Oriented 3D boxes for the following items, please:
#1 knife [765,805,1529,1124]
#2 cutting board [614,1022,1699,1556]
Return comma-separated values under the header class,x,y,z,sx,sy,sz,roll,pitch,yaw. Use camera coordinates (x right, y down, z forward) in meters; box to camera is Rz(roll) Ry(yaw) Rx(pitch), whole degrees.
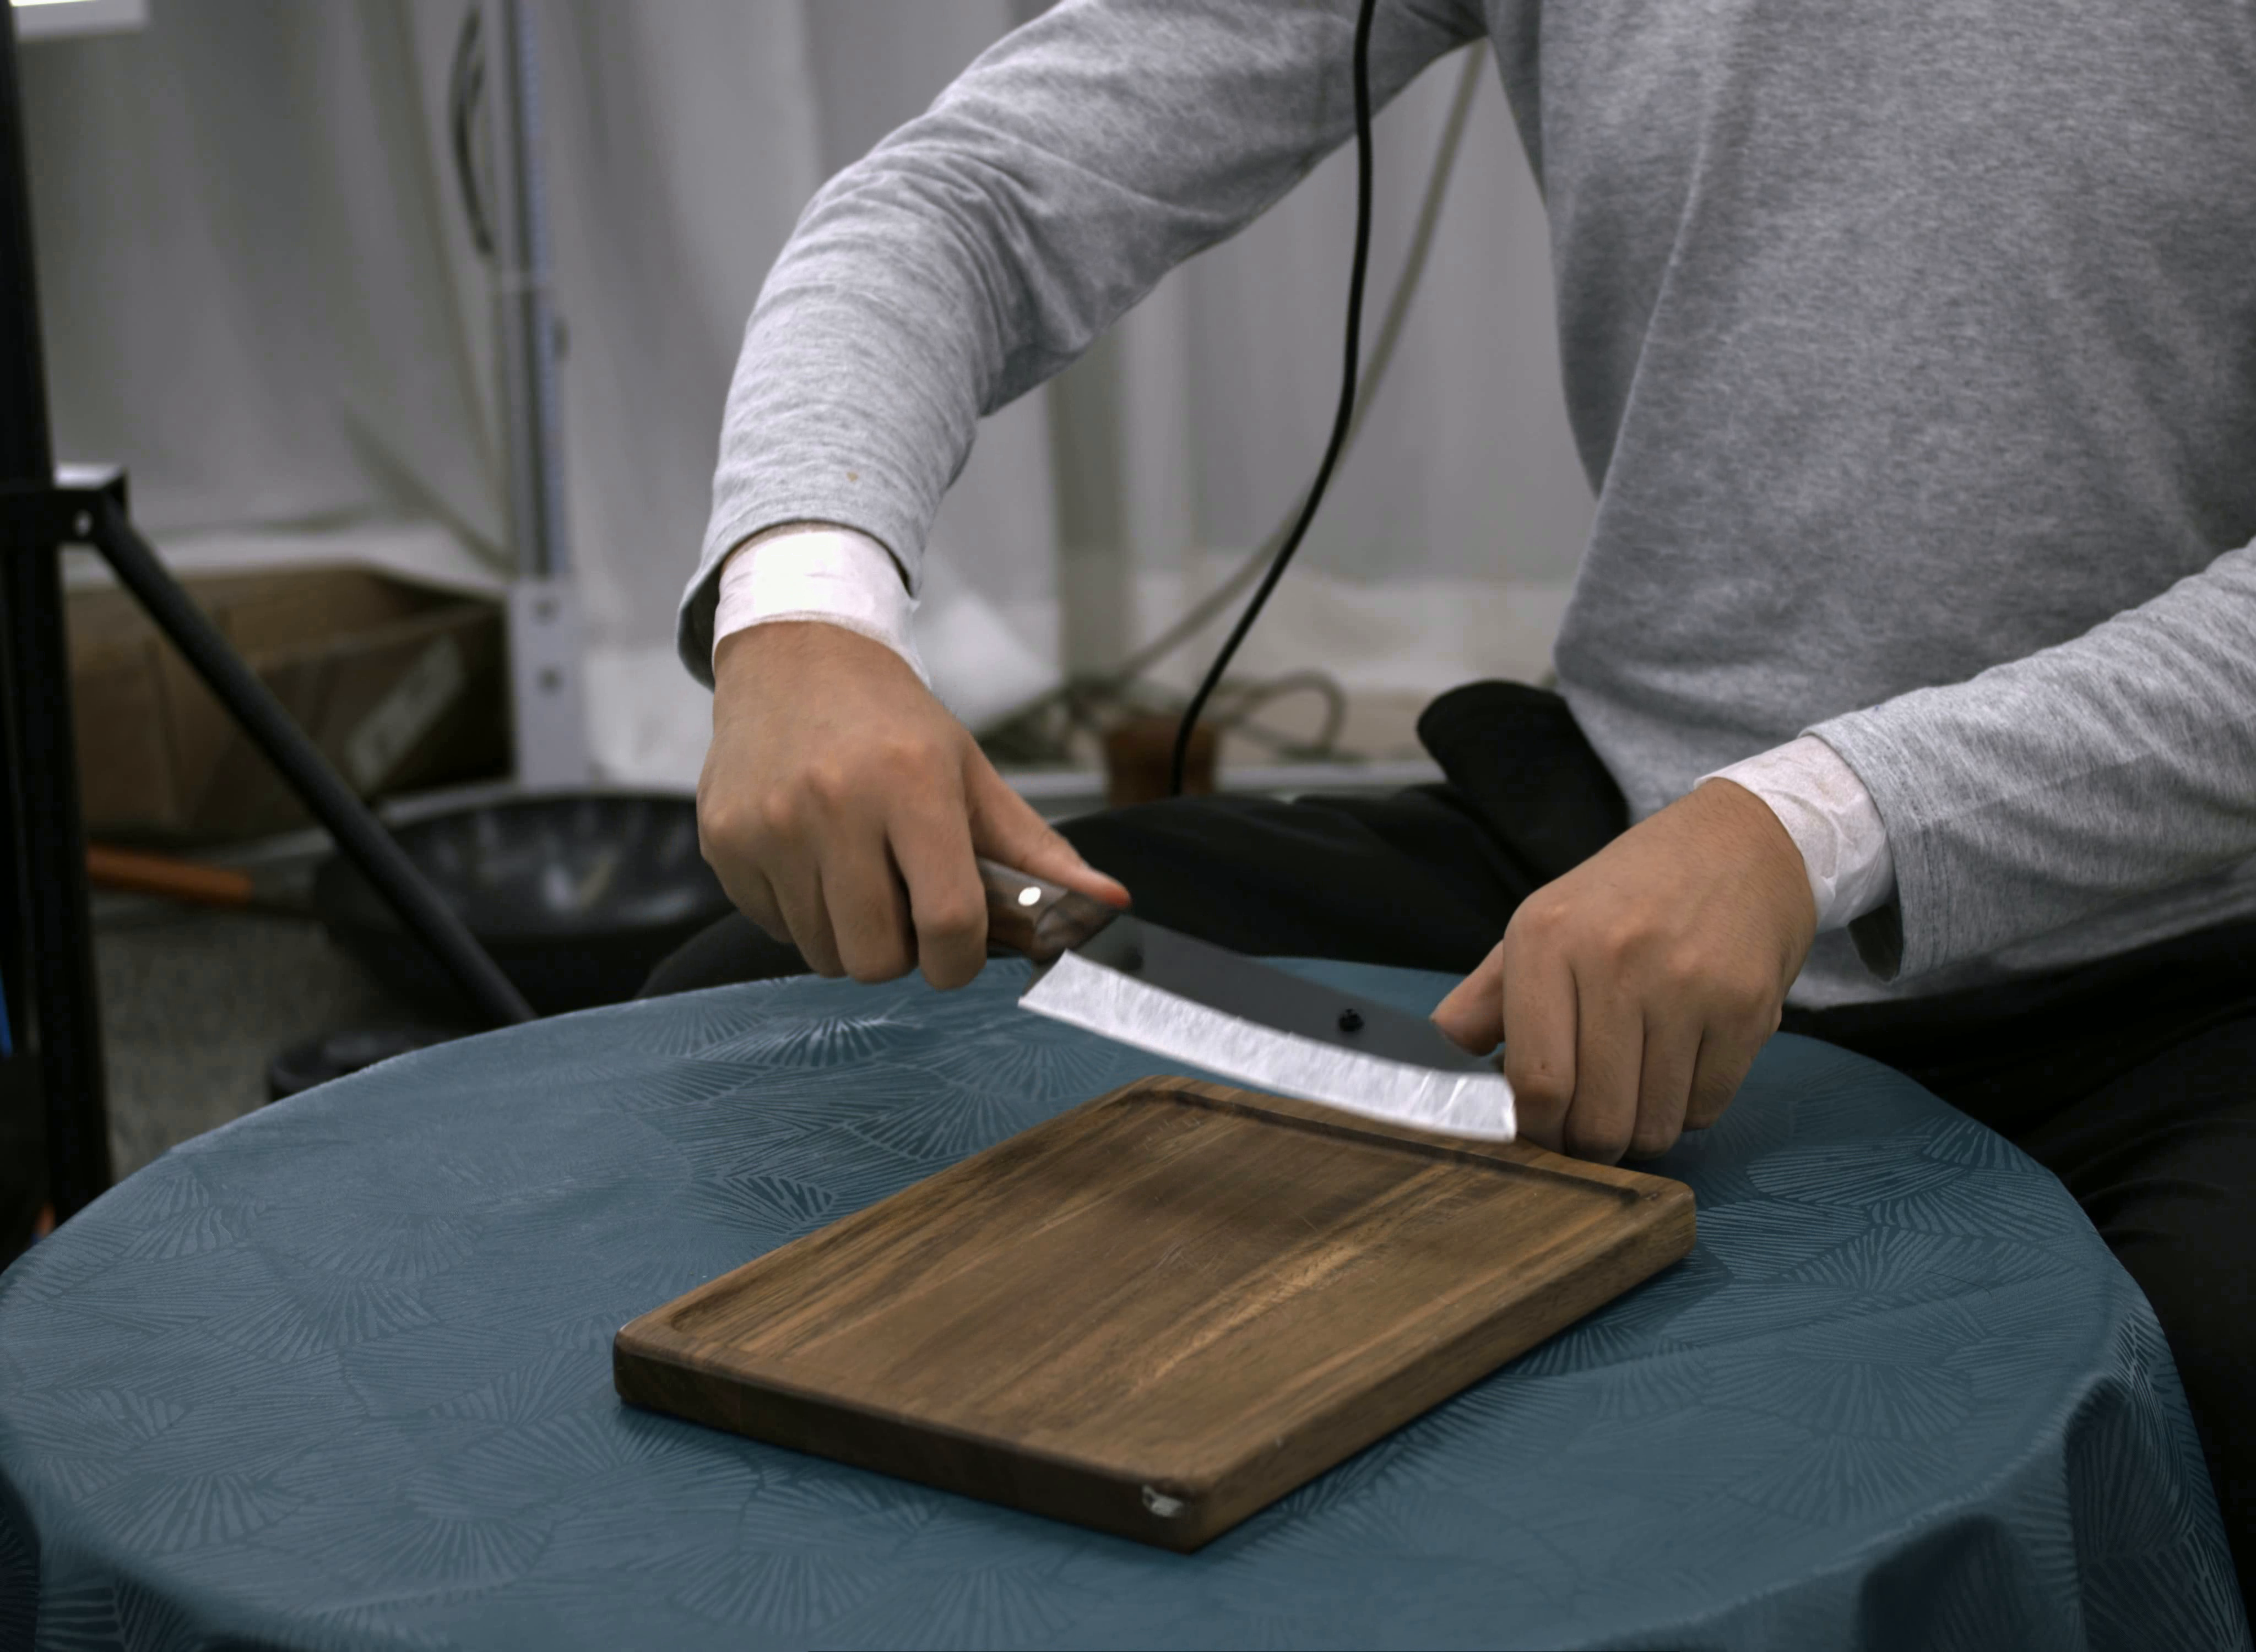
class,x,y,z,sx,sy,sz,roll,pitch,yaw
knife,0.001,0.040,1.538,0.295,0.020,0.050,19,52,38
cutting board,0.041,0.115,1.487,0.205,0.023,0.345,10,21,36
